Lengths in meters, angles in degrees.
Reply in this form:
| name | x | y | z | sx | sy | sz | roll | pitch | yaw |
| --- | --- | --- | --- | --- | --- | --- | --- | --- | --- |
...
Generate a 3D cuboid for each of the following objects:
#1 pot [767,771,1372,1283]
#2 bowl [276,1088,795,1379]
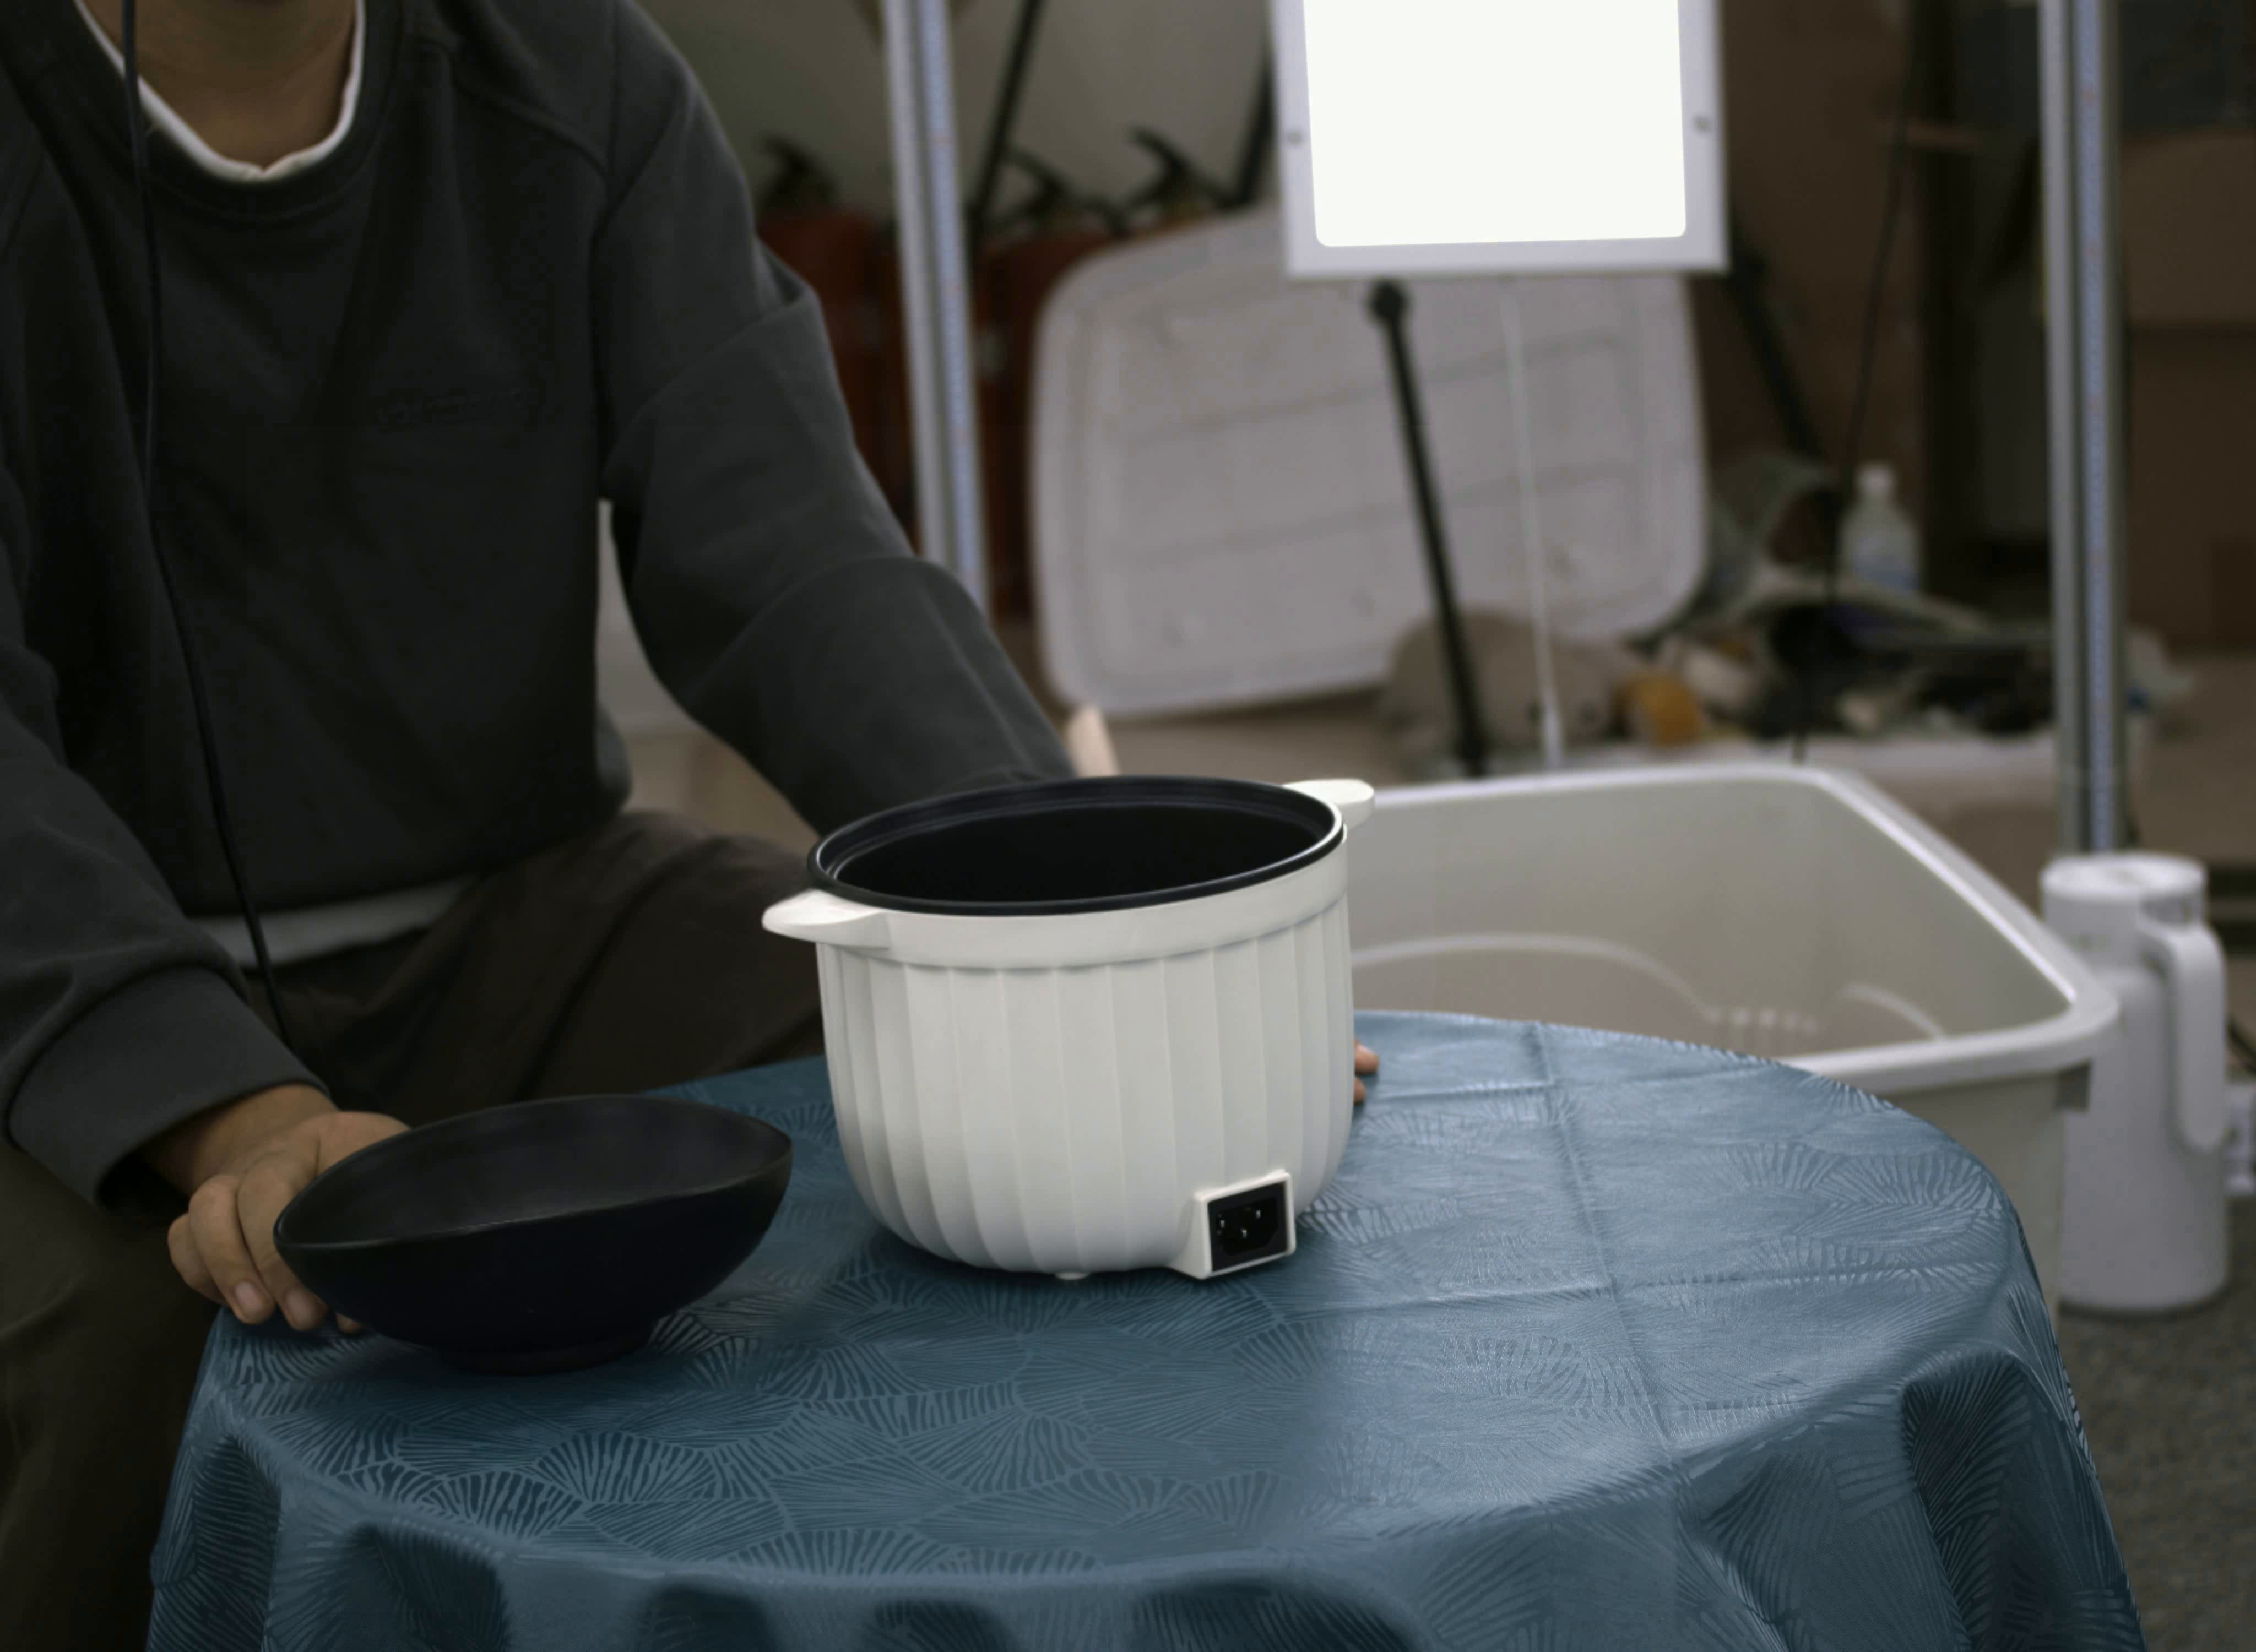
| name | x | y | z | sx | sy | sz | roll | pitch | yaw |
| --- | --- | --- | --- | --- | --- | --- | --- | --- | --- |
| pot | -0.017 | 0.068 | 1.855 | 0.234 | 0.143 | 0.194 | -12 | 18 | -32 |
| bowl | -0.188 | 0.137 | 1.785 | 0.168 | 0.067 | 0.138 | -9 | 14 | -12 |
